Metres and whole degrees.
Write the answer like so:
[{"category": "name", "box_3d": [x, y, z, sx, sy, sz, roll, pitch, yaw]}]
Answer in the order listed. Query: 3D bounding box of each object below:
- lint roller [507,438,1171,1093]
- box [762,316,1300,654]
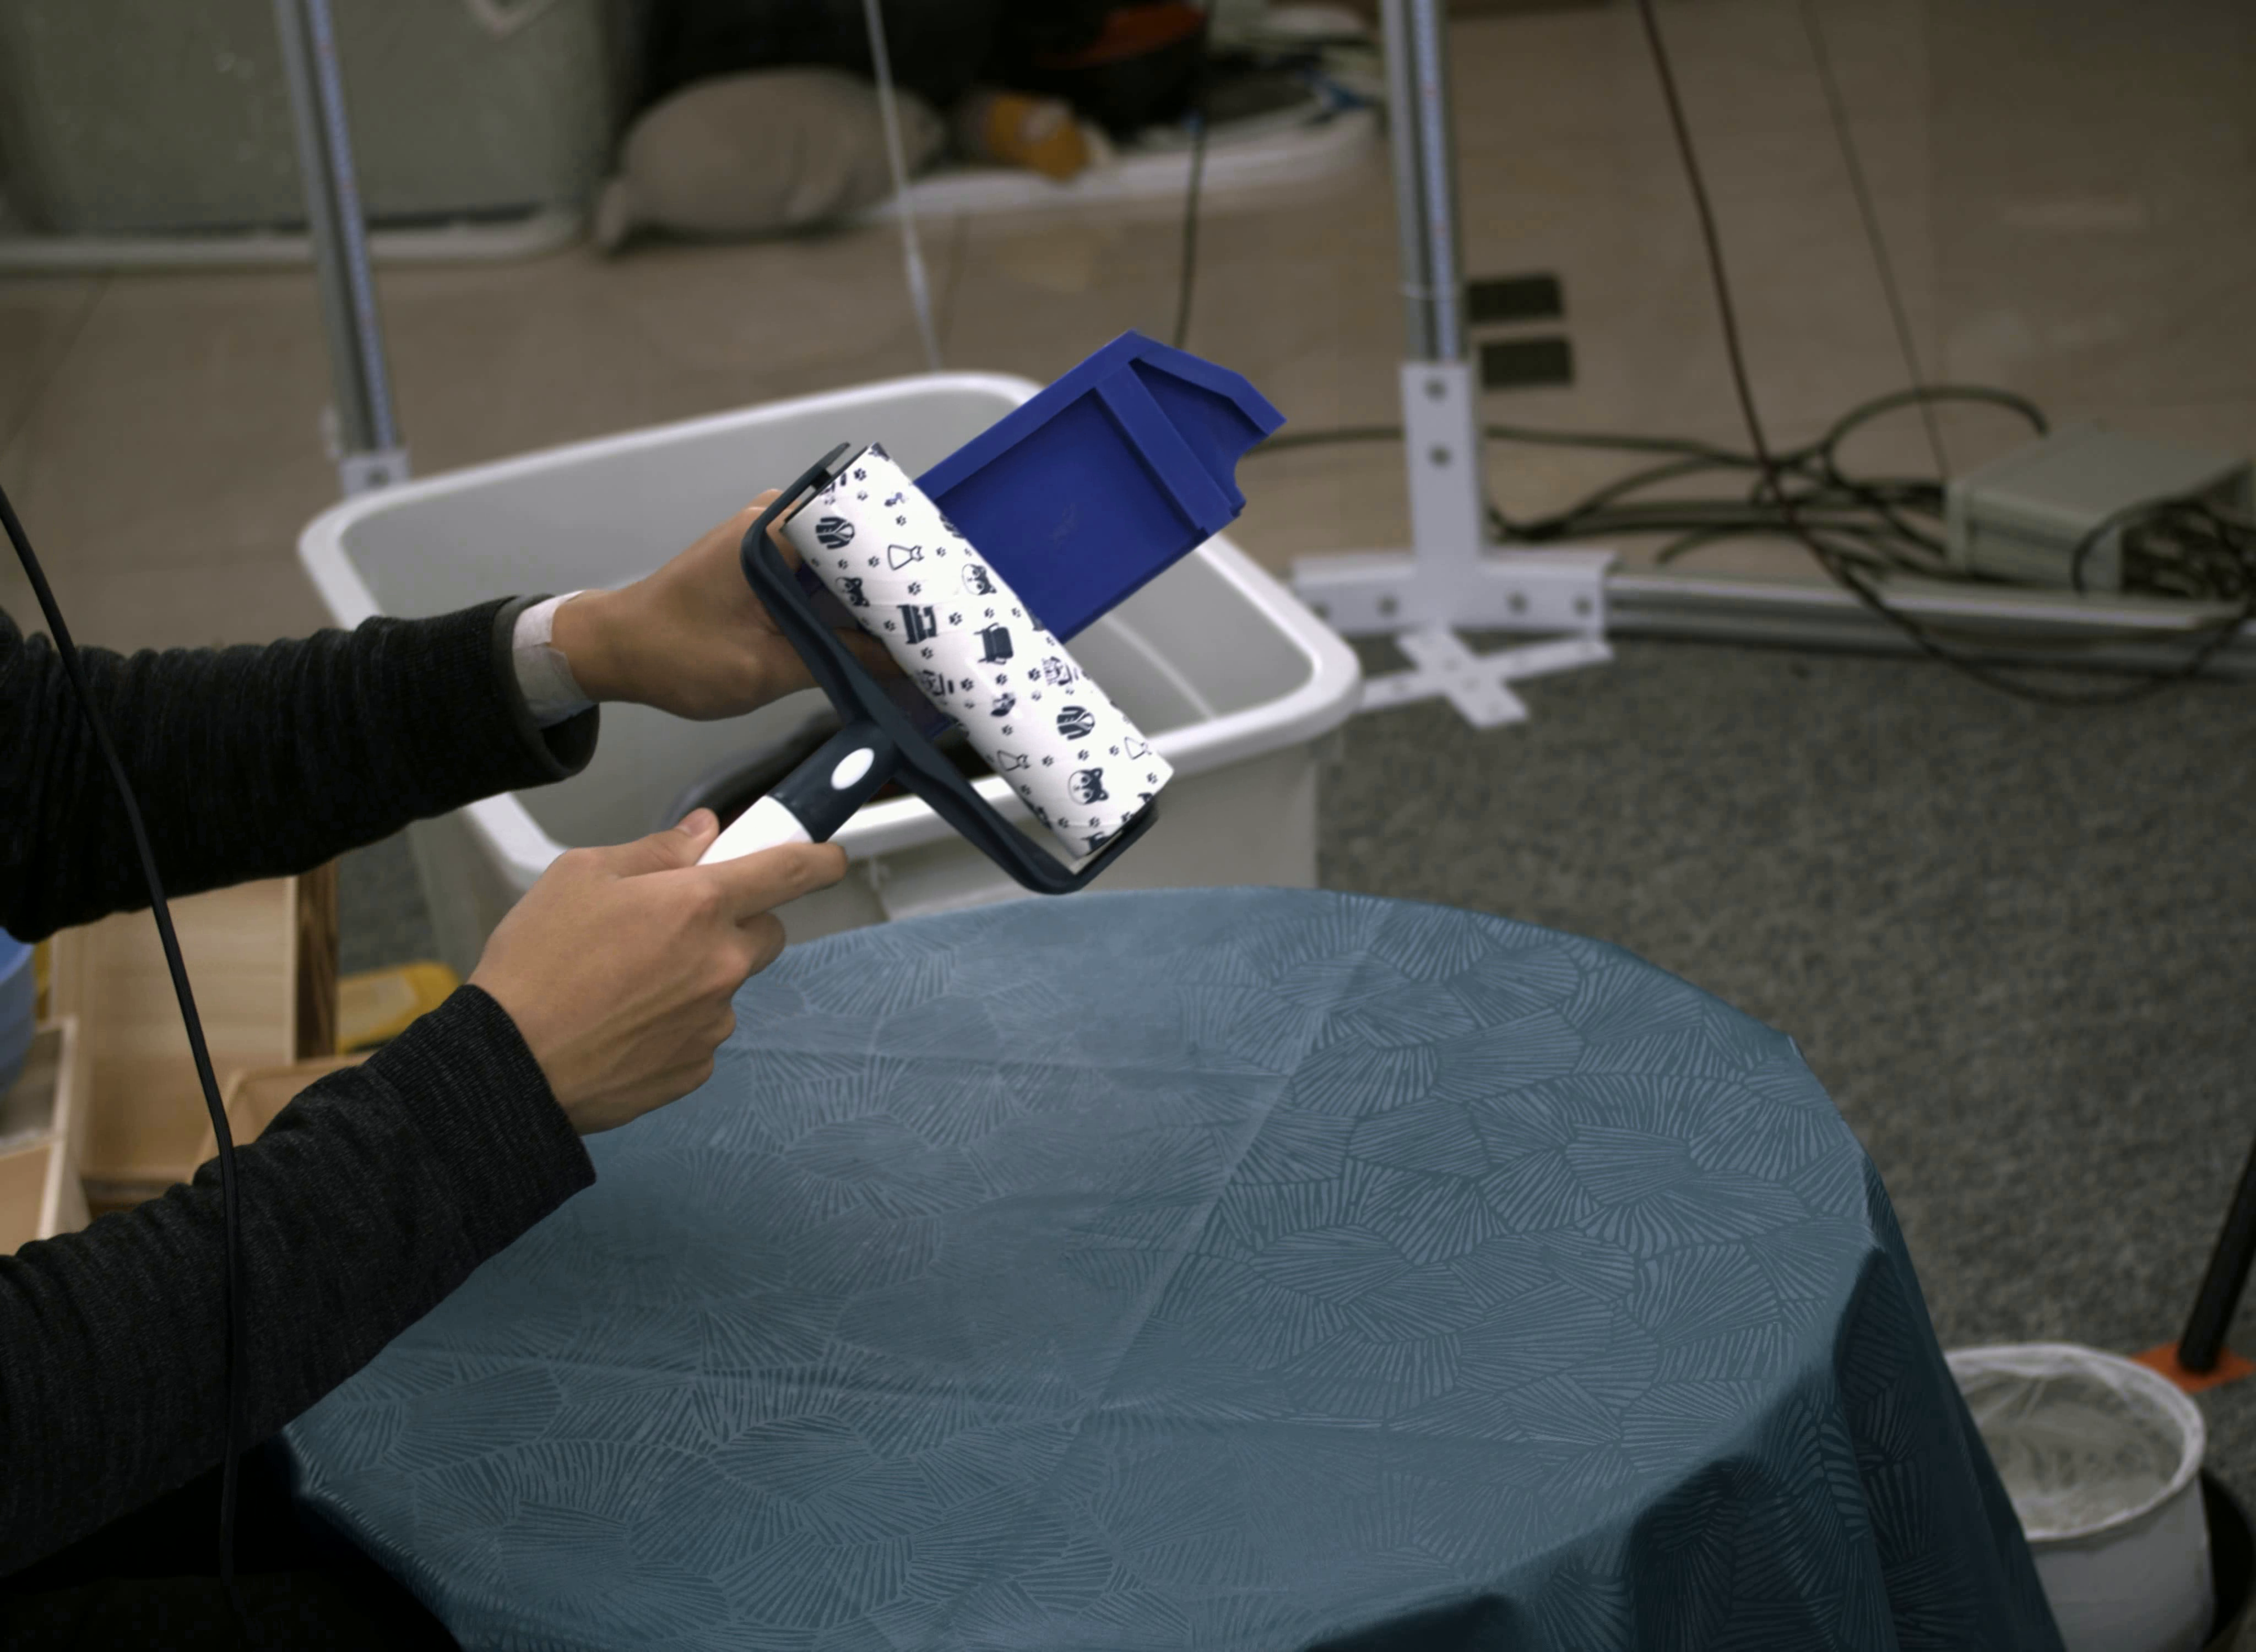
[{"category": "lint roller", "box_3d": [-0.122, 0.005, 1.985, 0.245, 0.177, 0.050, -45, 8, -15]}, {"category": "box", "box_3d": [-0.033, -0.111, 2.119, 0.178, 0.082, 0.125, -39, 3, -20]}]
